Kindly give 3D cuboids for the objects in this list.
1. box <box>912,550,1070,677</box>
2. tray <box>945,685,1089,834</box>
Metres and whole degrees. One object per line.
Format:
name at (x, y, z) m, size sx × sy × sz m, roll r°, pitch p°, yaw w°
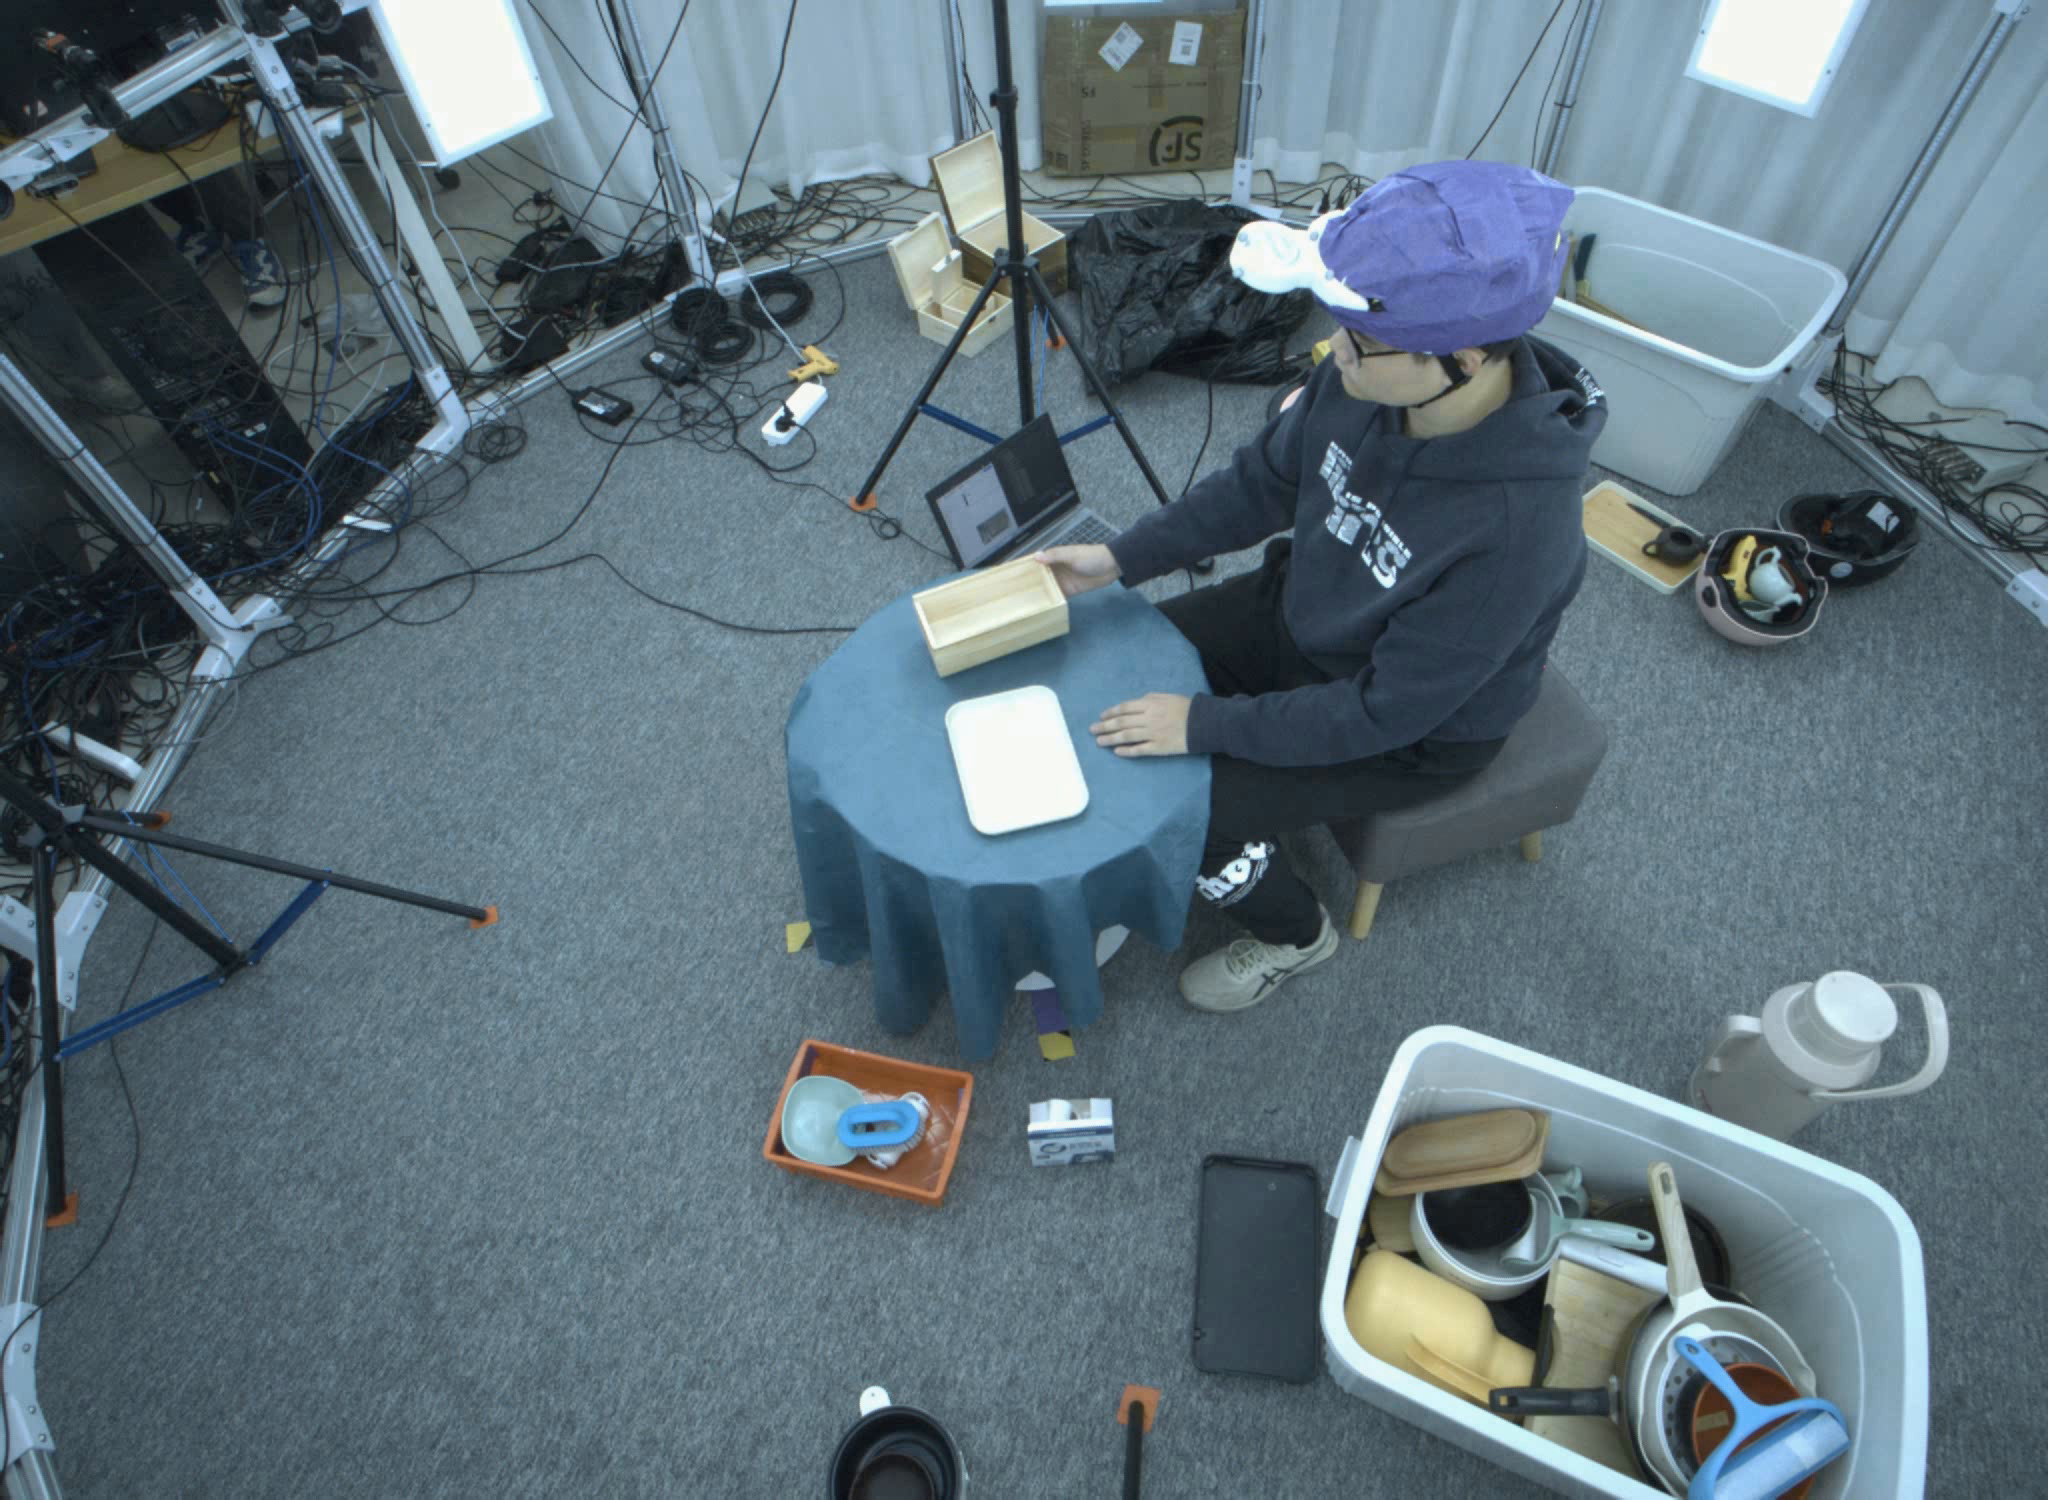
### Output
box at (-0.049, -0.207, 1.855) m, size 0.212 × 0.081 × 0.106 m, roll -21°, pitch 65°, yaw -8°
tray at (-0.012, 0.013, 1.769) m, size 0.172 × 0.017 × 0.236 m, roll -12°, pitch 55°, yaw -8°
